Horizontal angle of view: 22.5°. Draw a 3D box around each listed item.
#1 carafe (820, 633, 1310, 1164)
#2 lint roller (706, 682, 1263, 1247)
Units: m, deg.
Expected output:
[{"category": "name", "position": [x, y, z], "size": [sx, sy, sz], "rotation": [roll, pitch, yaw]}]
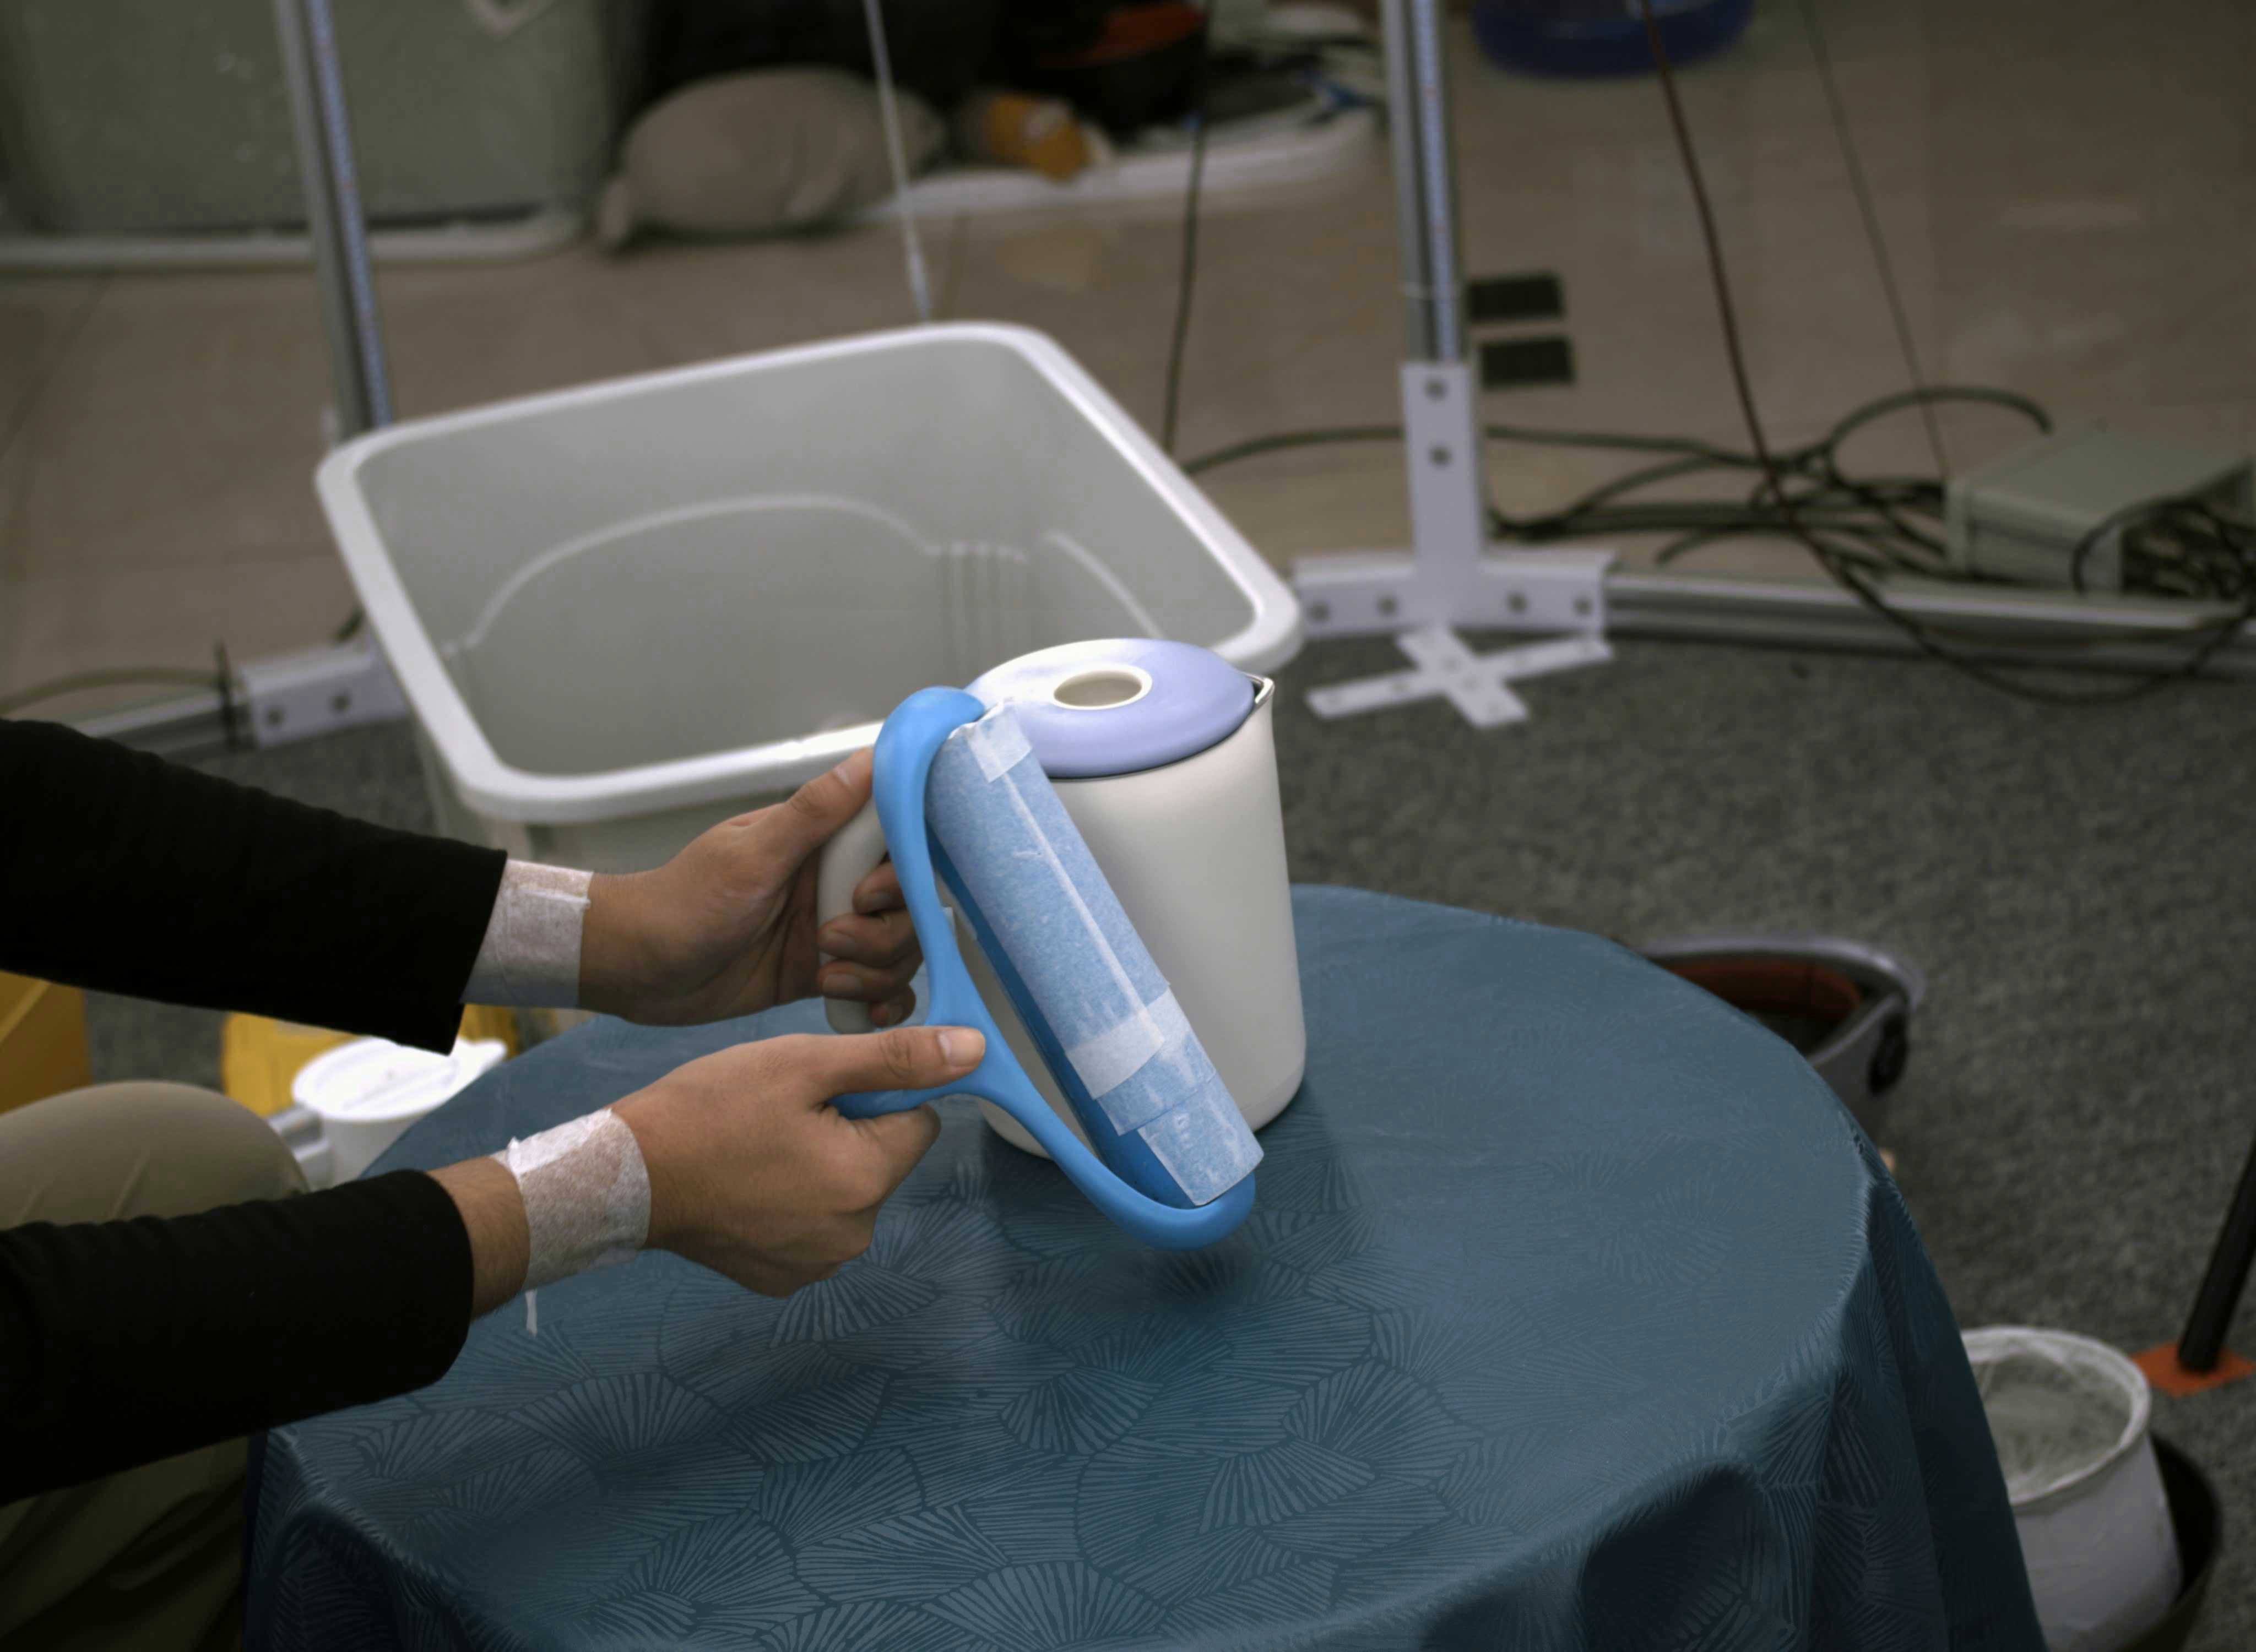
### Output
[{"category": "carafe", "position": [-0.026, 0.033, 2.175], "size": [0.190, 0.185, 0.130], "rotation": [-13, 26, -9]}, {"category": "lint roller", "position": [-0.067, 0.081, 2.034], "size": [0.179, 0.230, 0.068], "rotation": [-35, 11, -20]}]
